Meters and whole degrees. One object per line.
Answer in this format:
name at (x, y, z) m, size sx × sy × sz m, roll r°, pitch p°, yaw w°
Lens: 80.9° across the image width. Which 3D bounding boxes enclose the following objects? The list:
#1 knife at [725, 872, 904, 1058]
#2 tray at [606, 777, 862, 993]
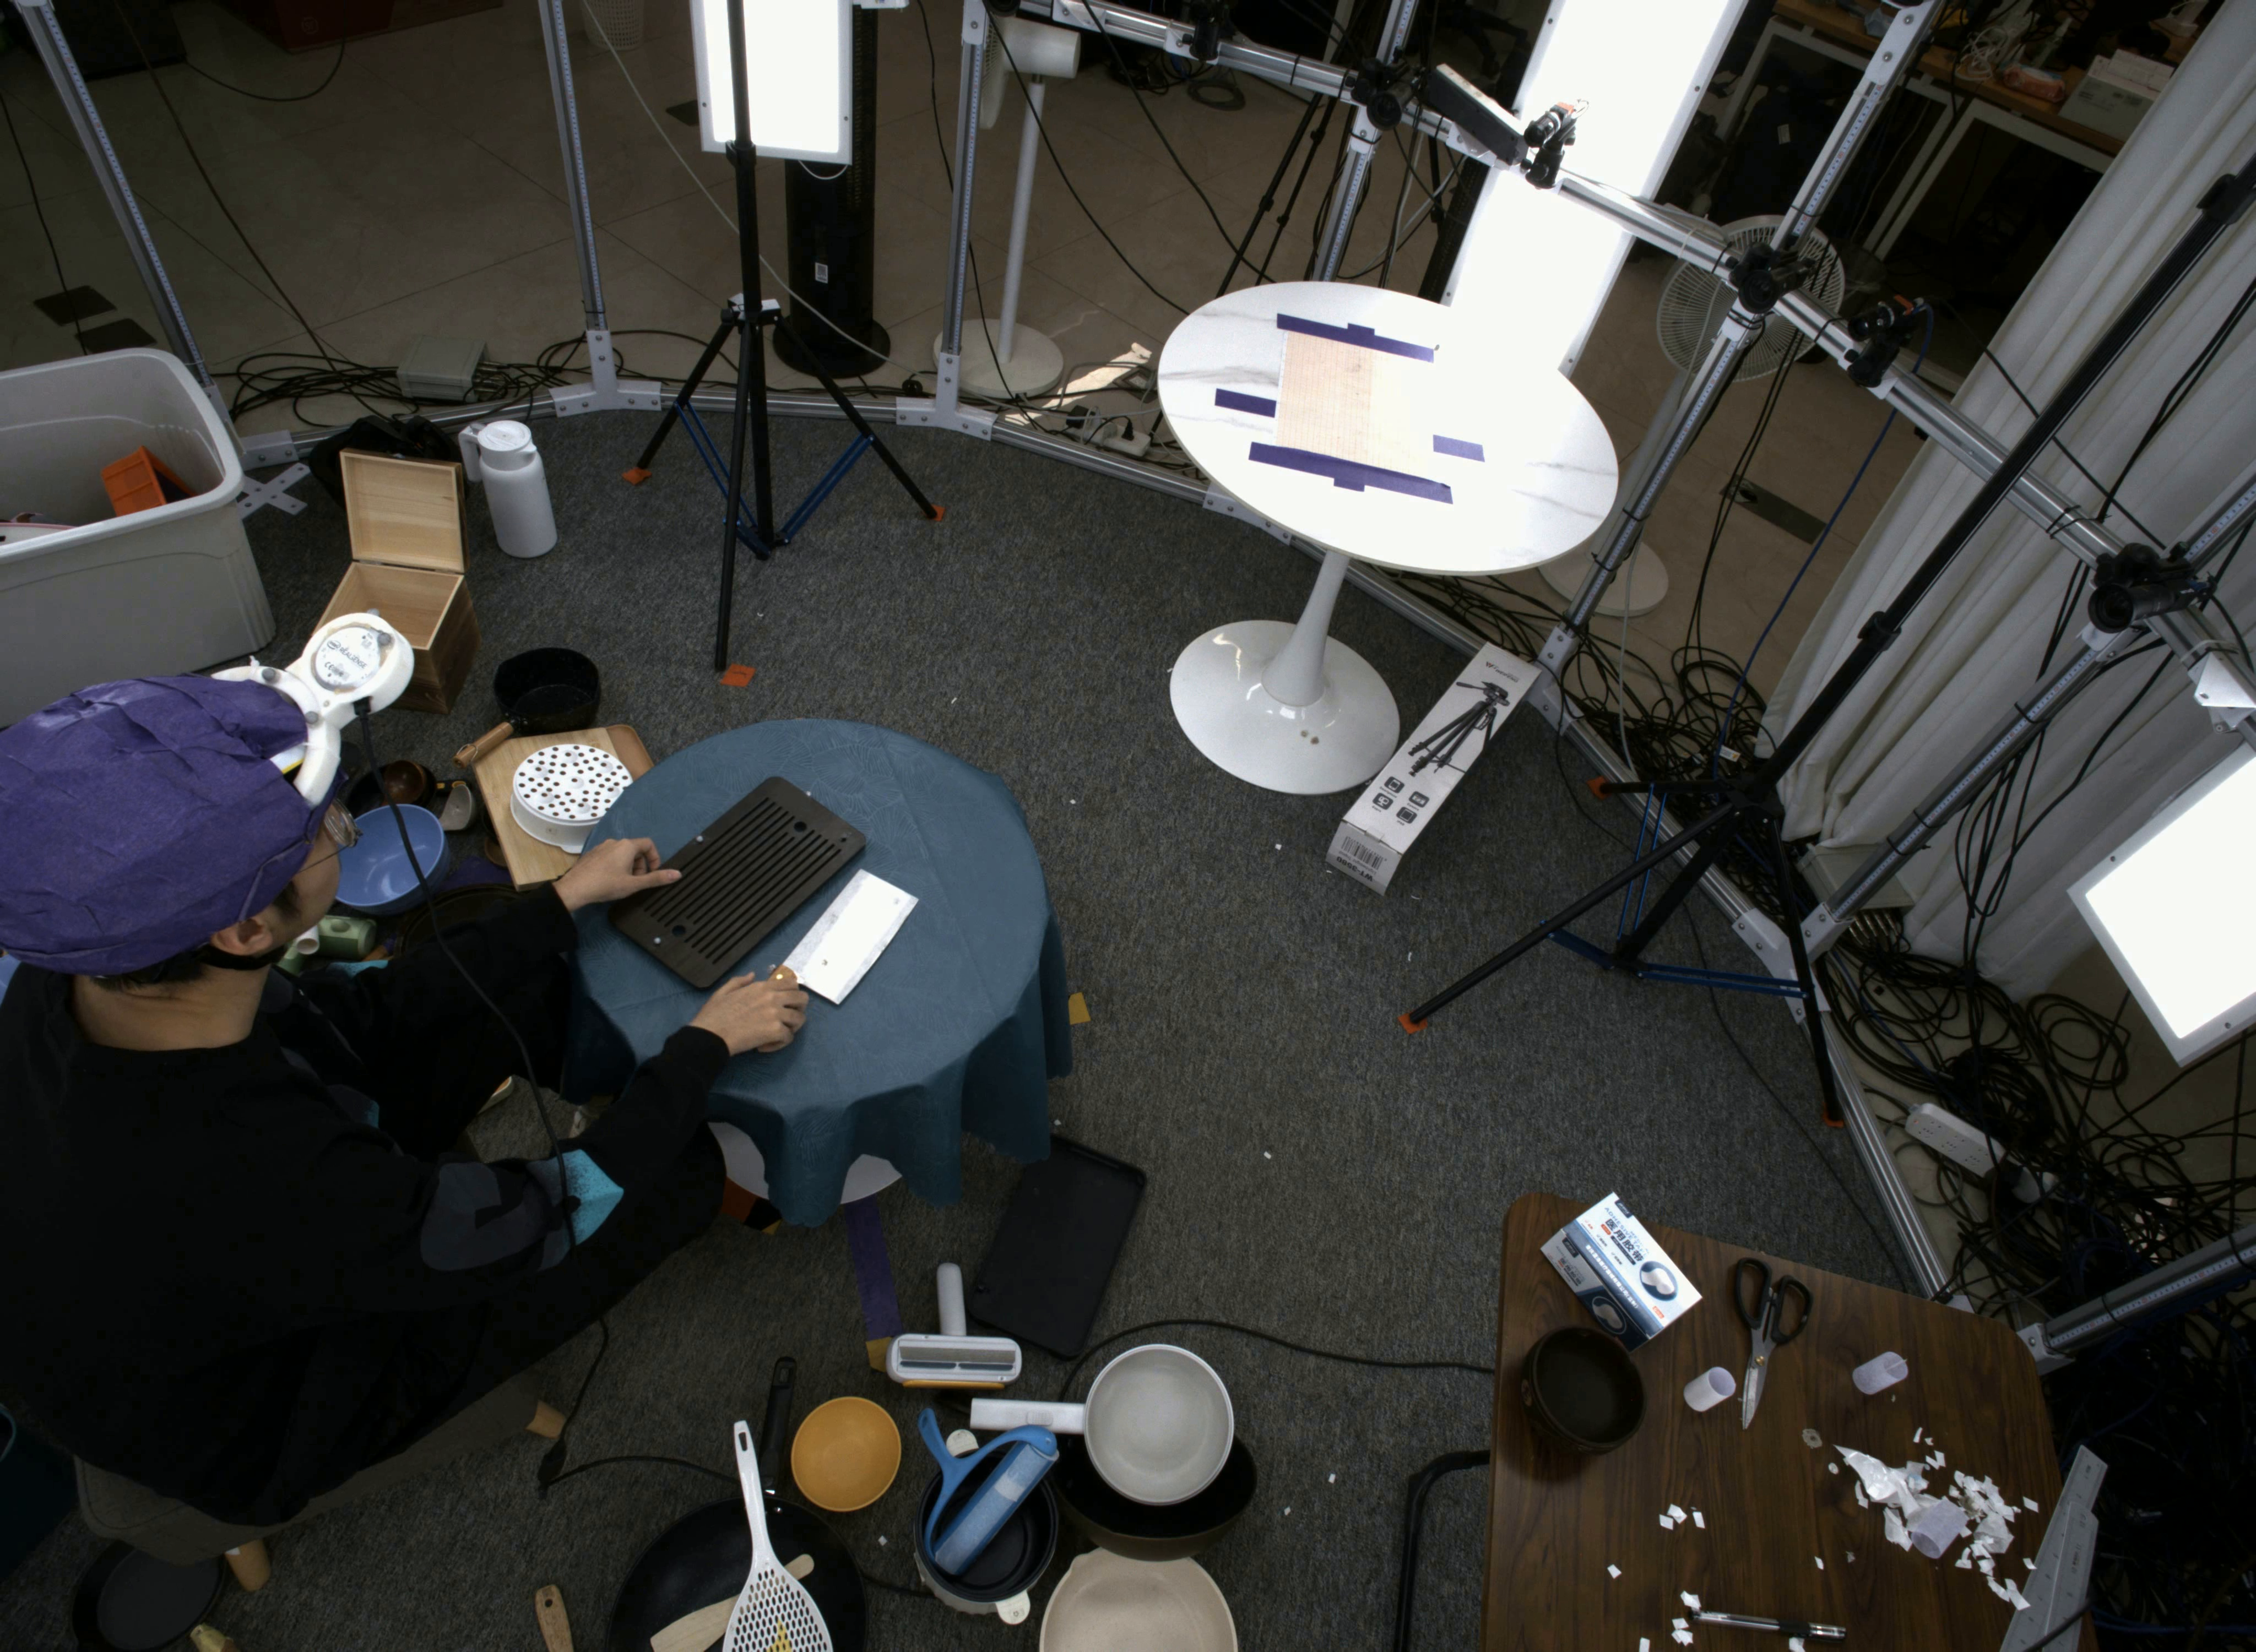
knife at (-0.373, 0.171, 1.589) m, size 0.092 × 0.021 × 0.304 m, roll 28°, pitch 49°, yaw 5°
tray at (-0.494, 0.067, 1.633) m, size 0.167 × 0.019 × 0.305 m, roll 34°, pitch 53°, yaw 11°
